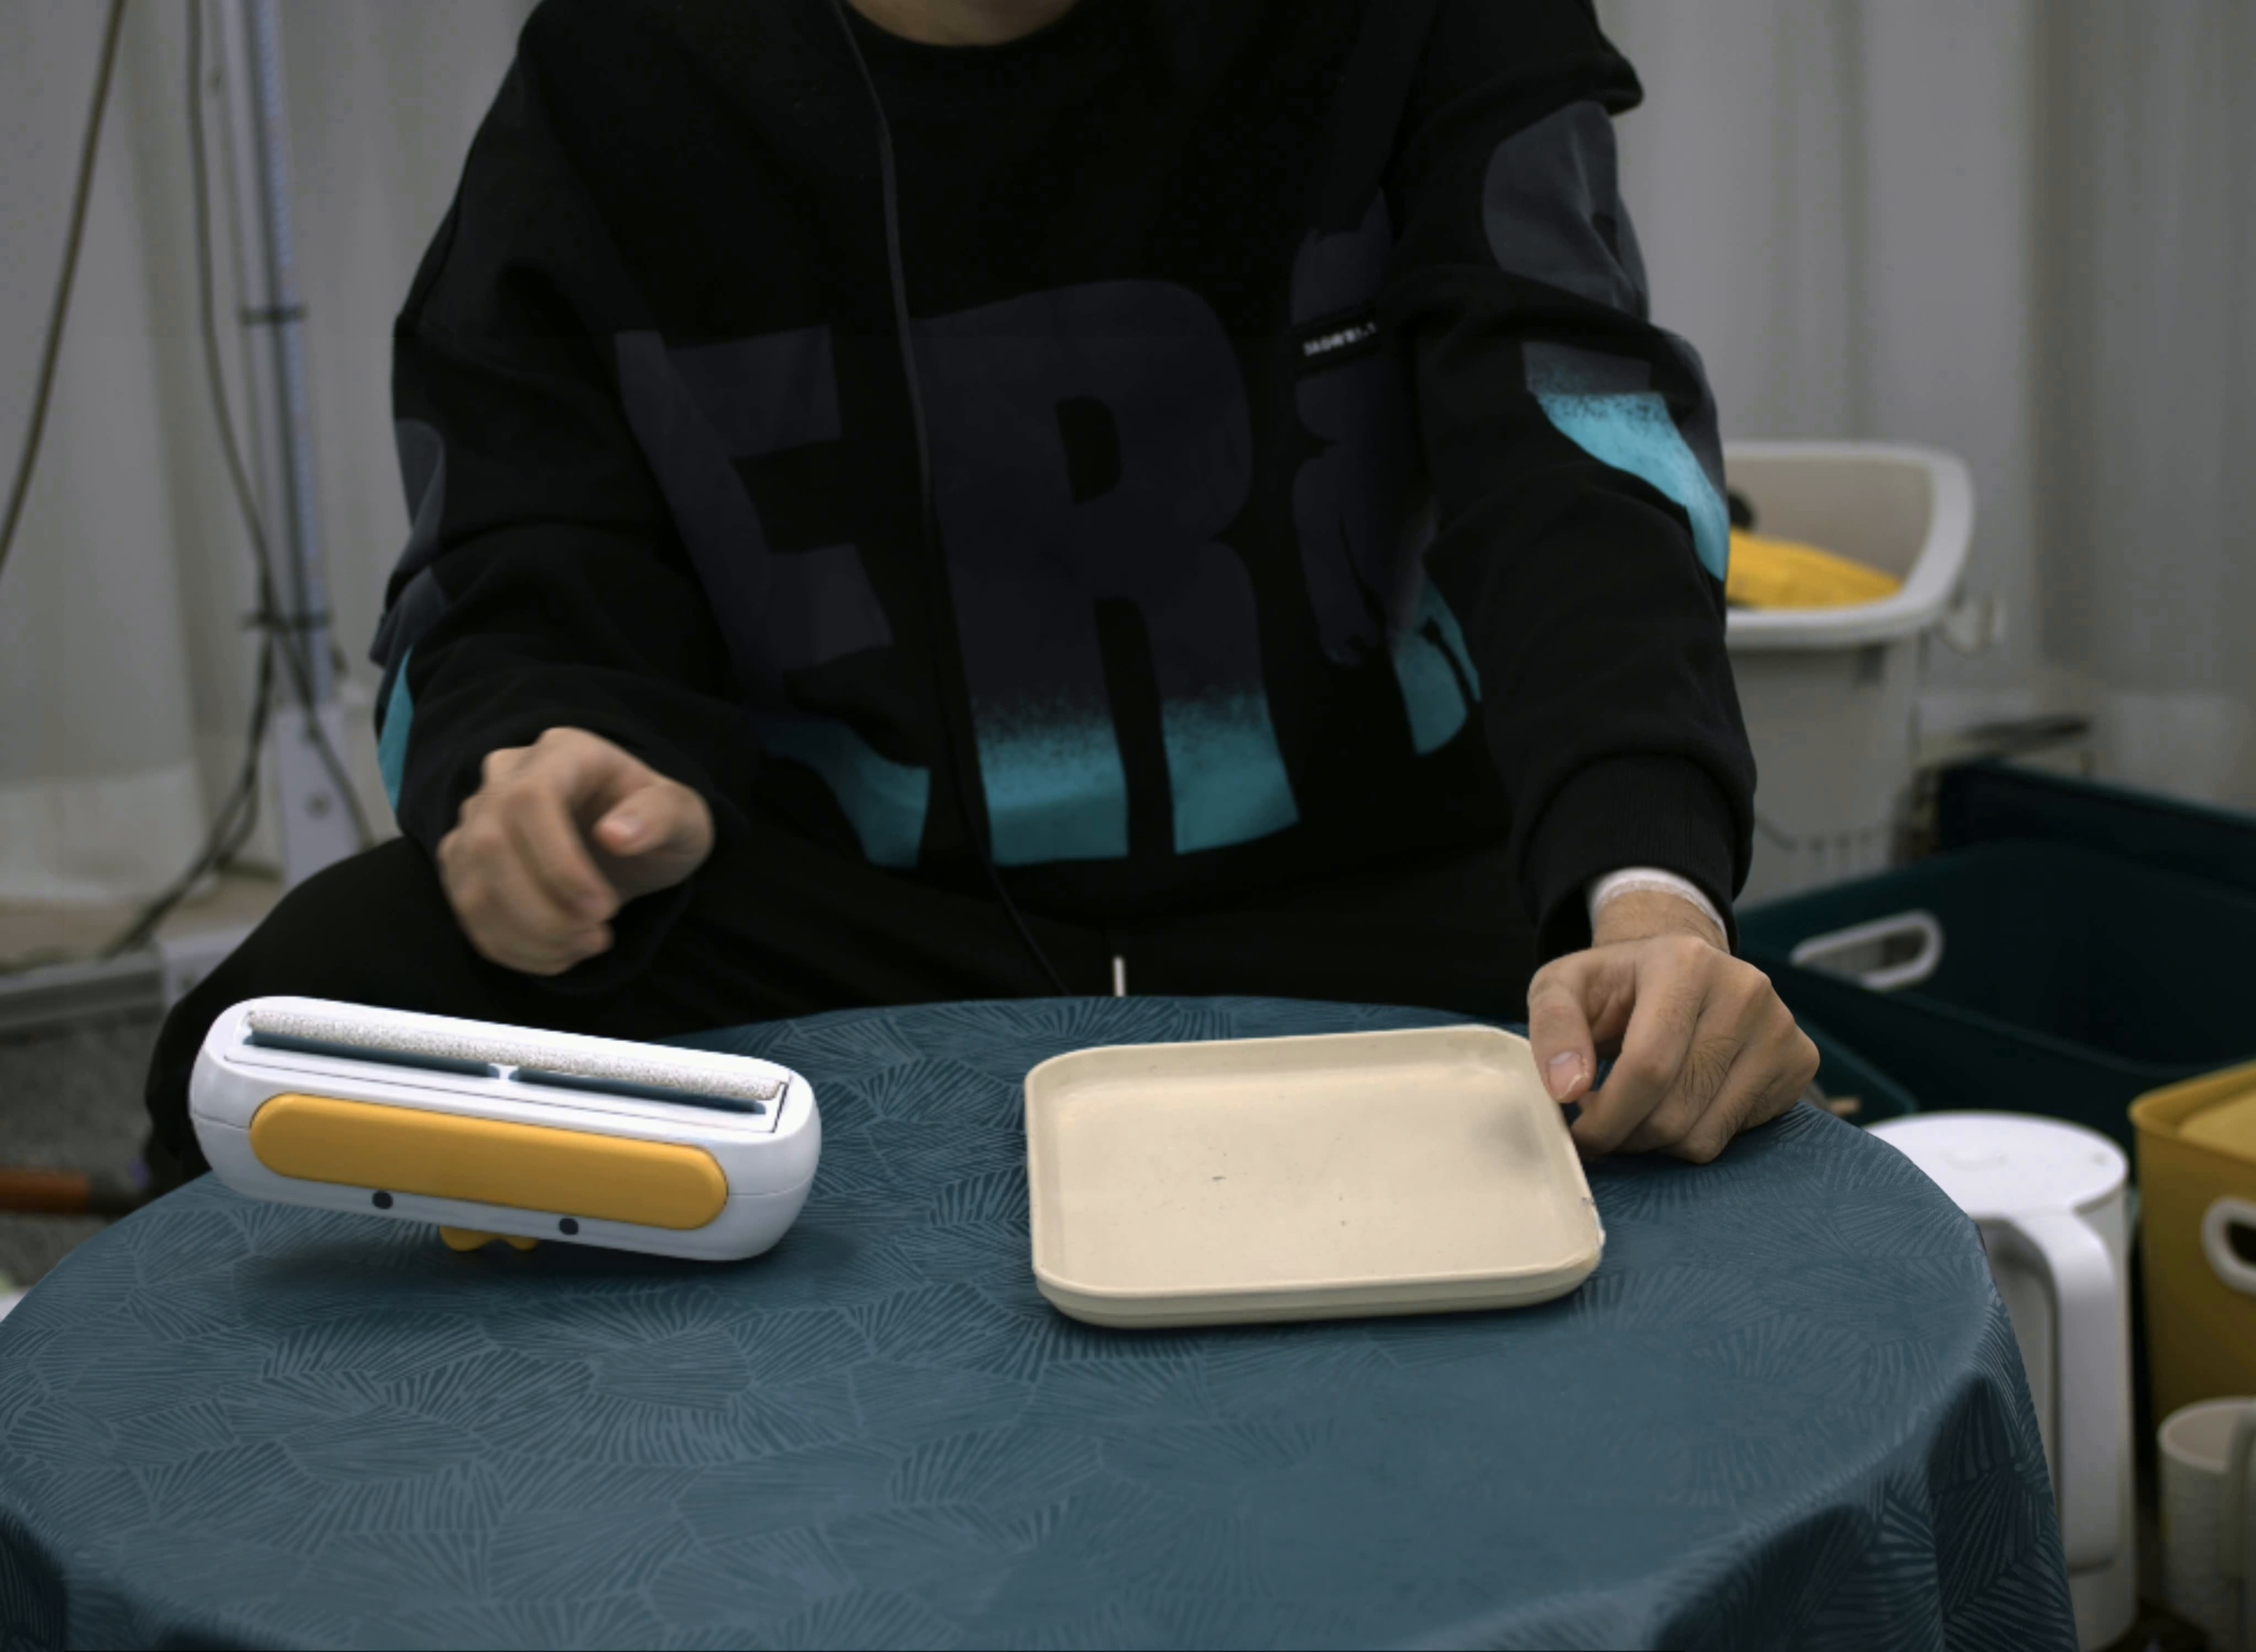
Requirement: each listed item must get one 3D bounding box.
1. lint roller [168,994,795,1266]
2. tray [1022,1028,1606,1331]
[{"bbox_3d":[-0.191,0.085,1.734,0.192,0.074,0.193,4,14,6],"label":"lint roller"},{"bbox_3d":[0.053,0.108,1.693,0.171,0.017,0.241,-4,15,0],"label":"tray"}]
